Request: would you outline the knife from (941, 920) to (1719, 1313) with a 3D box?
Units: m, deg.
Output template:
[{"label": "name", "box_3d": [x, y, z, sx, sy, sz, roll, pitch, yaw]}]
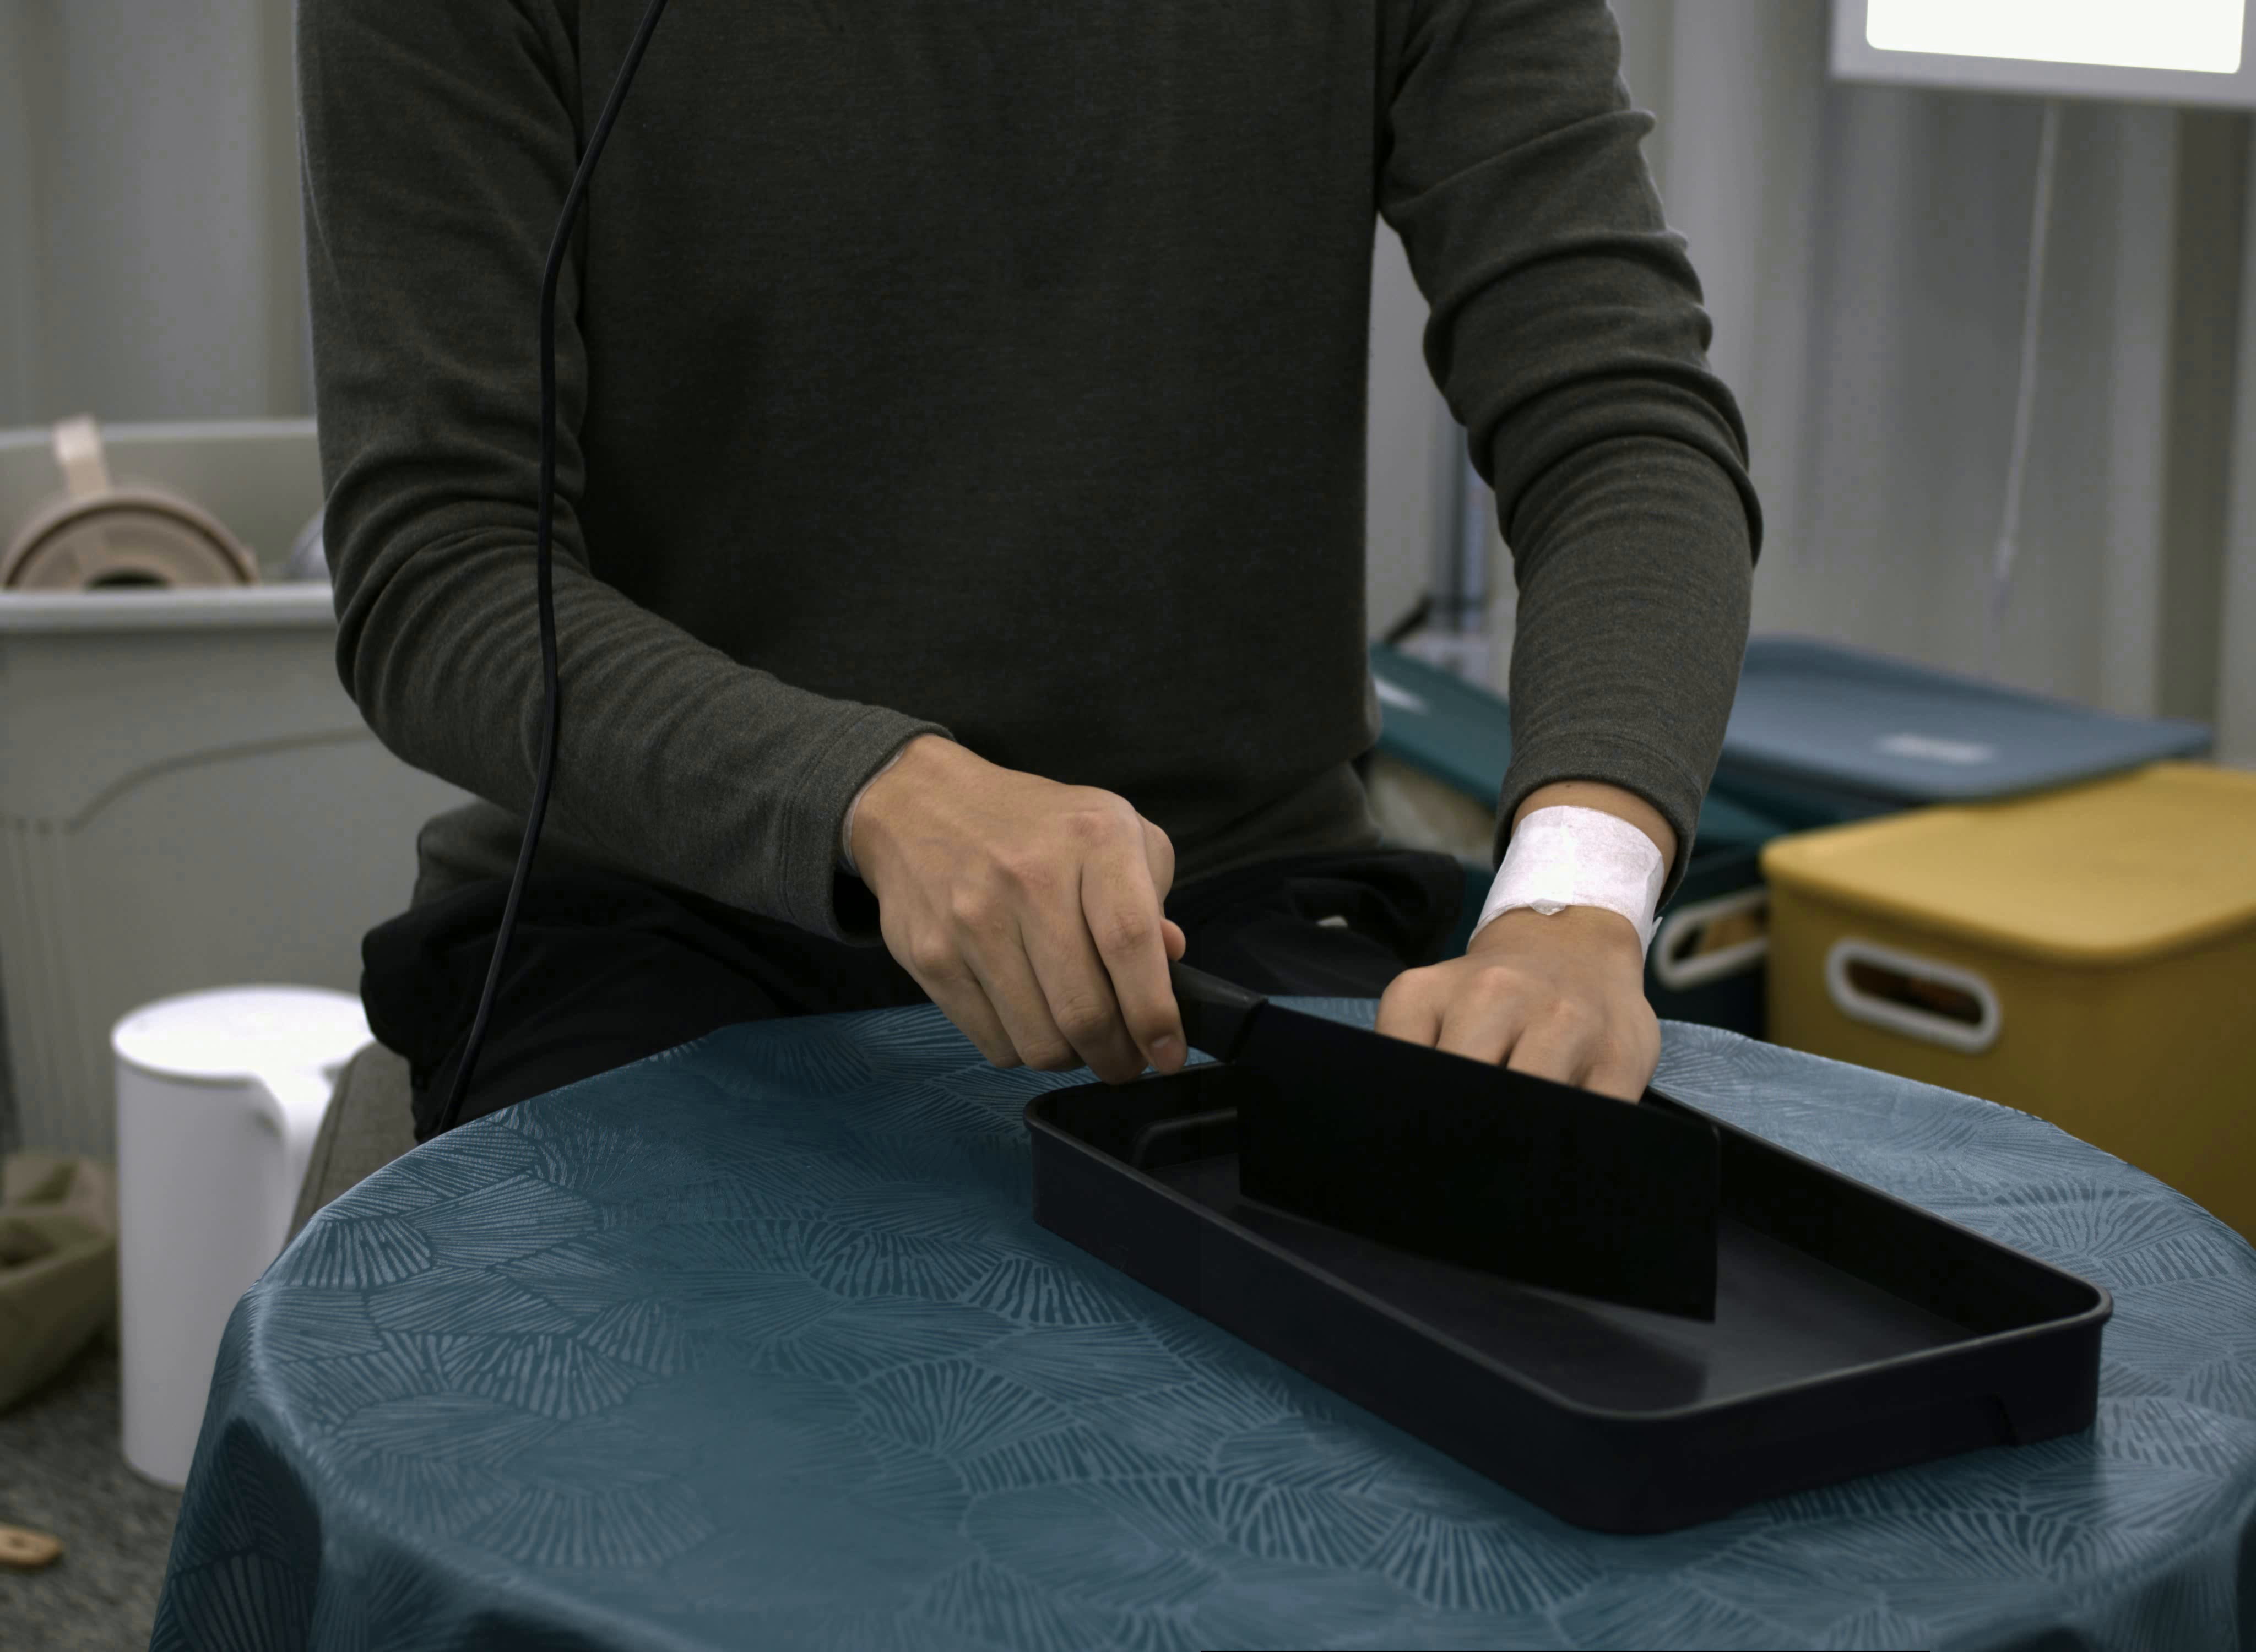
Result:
[{"label": "knife", "box_3d": [0.056, 0.081, 1.570, 0.298, 0.081, 0.021, 19, 25, 38]}]

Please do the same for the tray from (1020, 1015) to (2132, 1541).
[{"label": "tray", "box_3d": [0.121, 0.123, 1.520, 0.185, 0.037, 0.314, -9, 18, -32]}]
